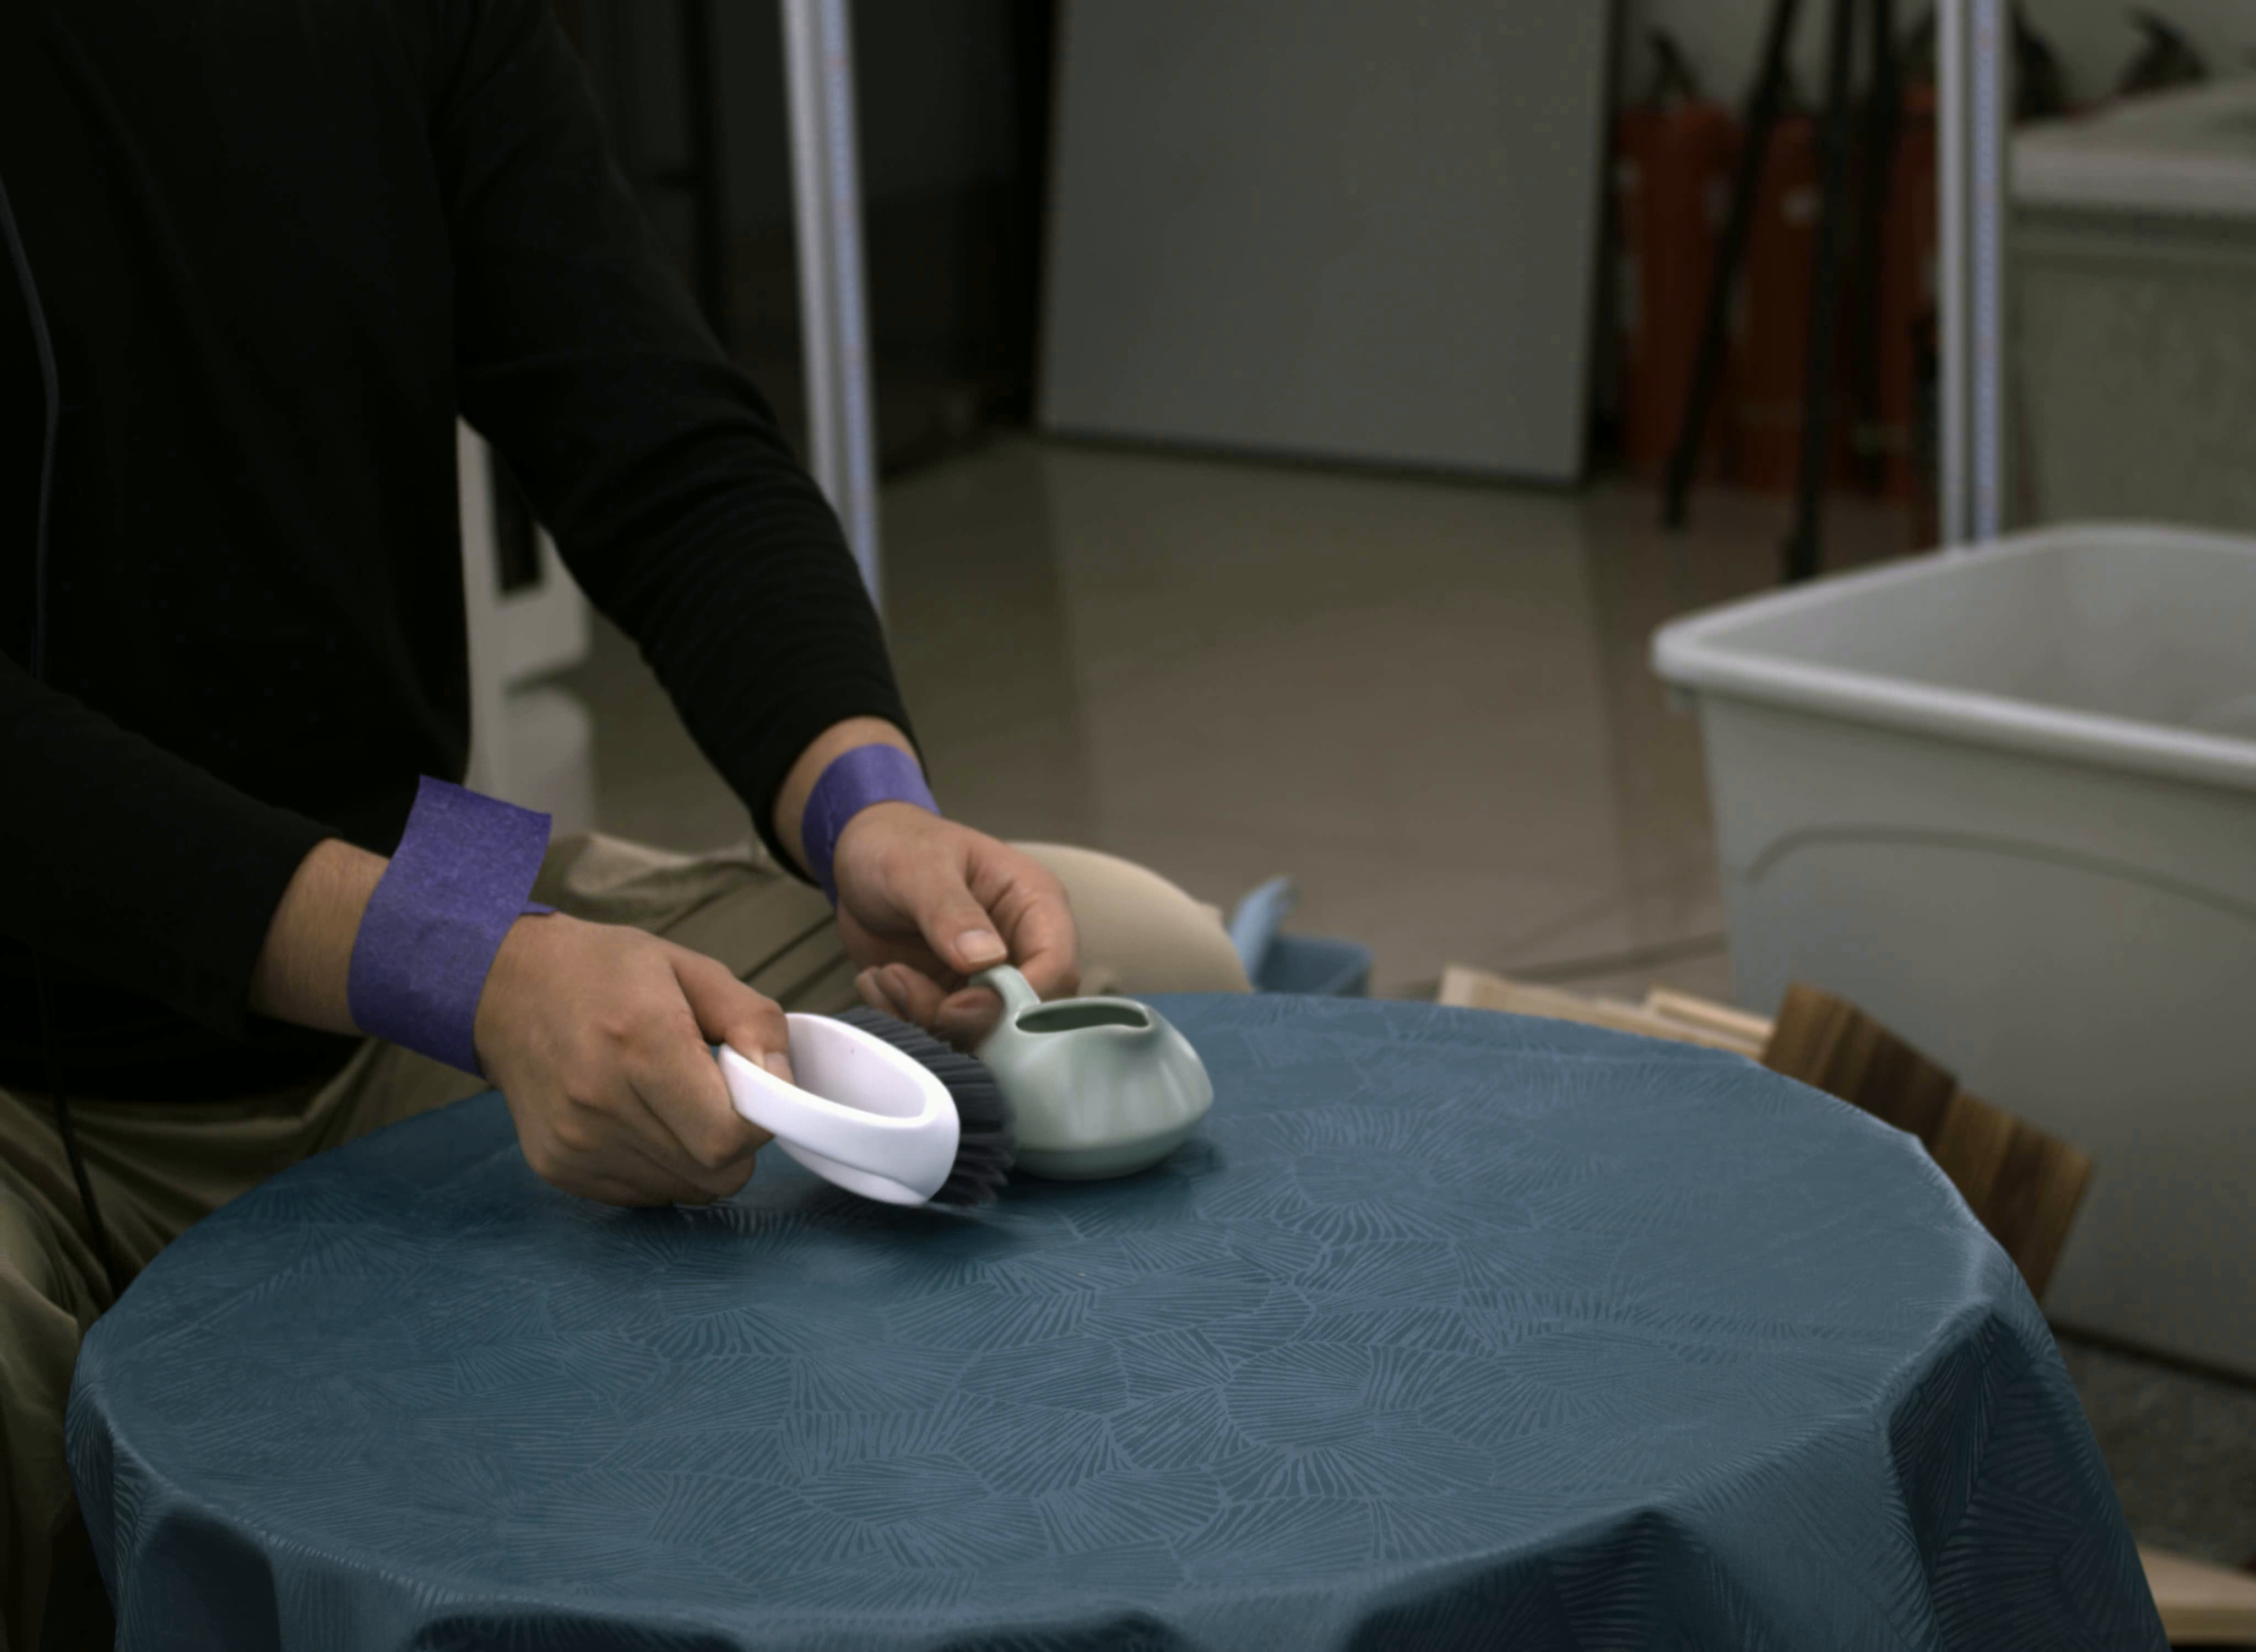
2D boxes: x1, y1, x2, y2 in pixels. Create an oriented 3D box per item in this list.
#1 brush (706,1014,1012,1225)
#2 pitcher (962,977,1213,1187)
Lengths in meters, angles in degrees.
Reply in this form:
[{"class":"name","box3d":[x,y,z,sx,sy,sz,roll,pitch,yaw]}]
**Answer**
[{"class":"brush","box3d":[-0.094,0.093,1.749,0.071,0.051,0.100,8,15,-46]},{"class":"pitcher","box3d":[-0.022,0.085,1.806,0.084,0.061,0.109,-13,13,-35]}]
